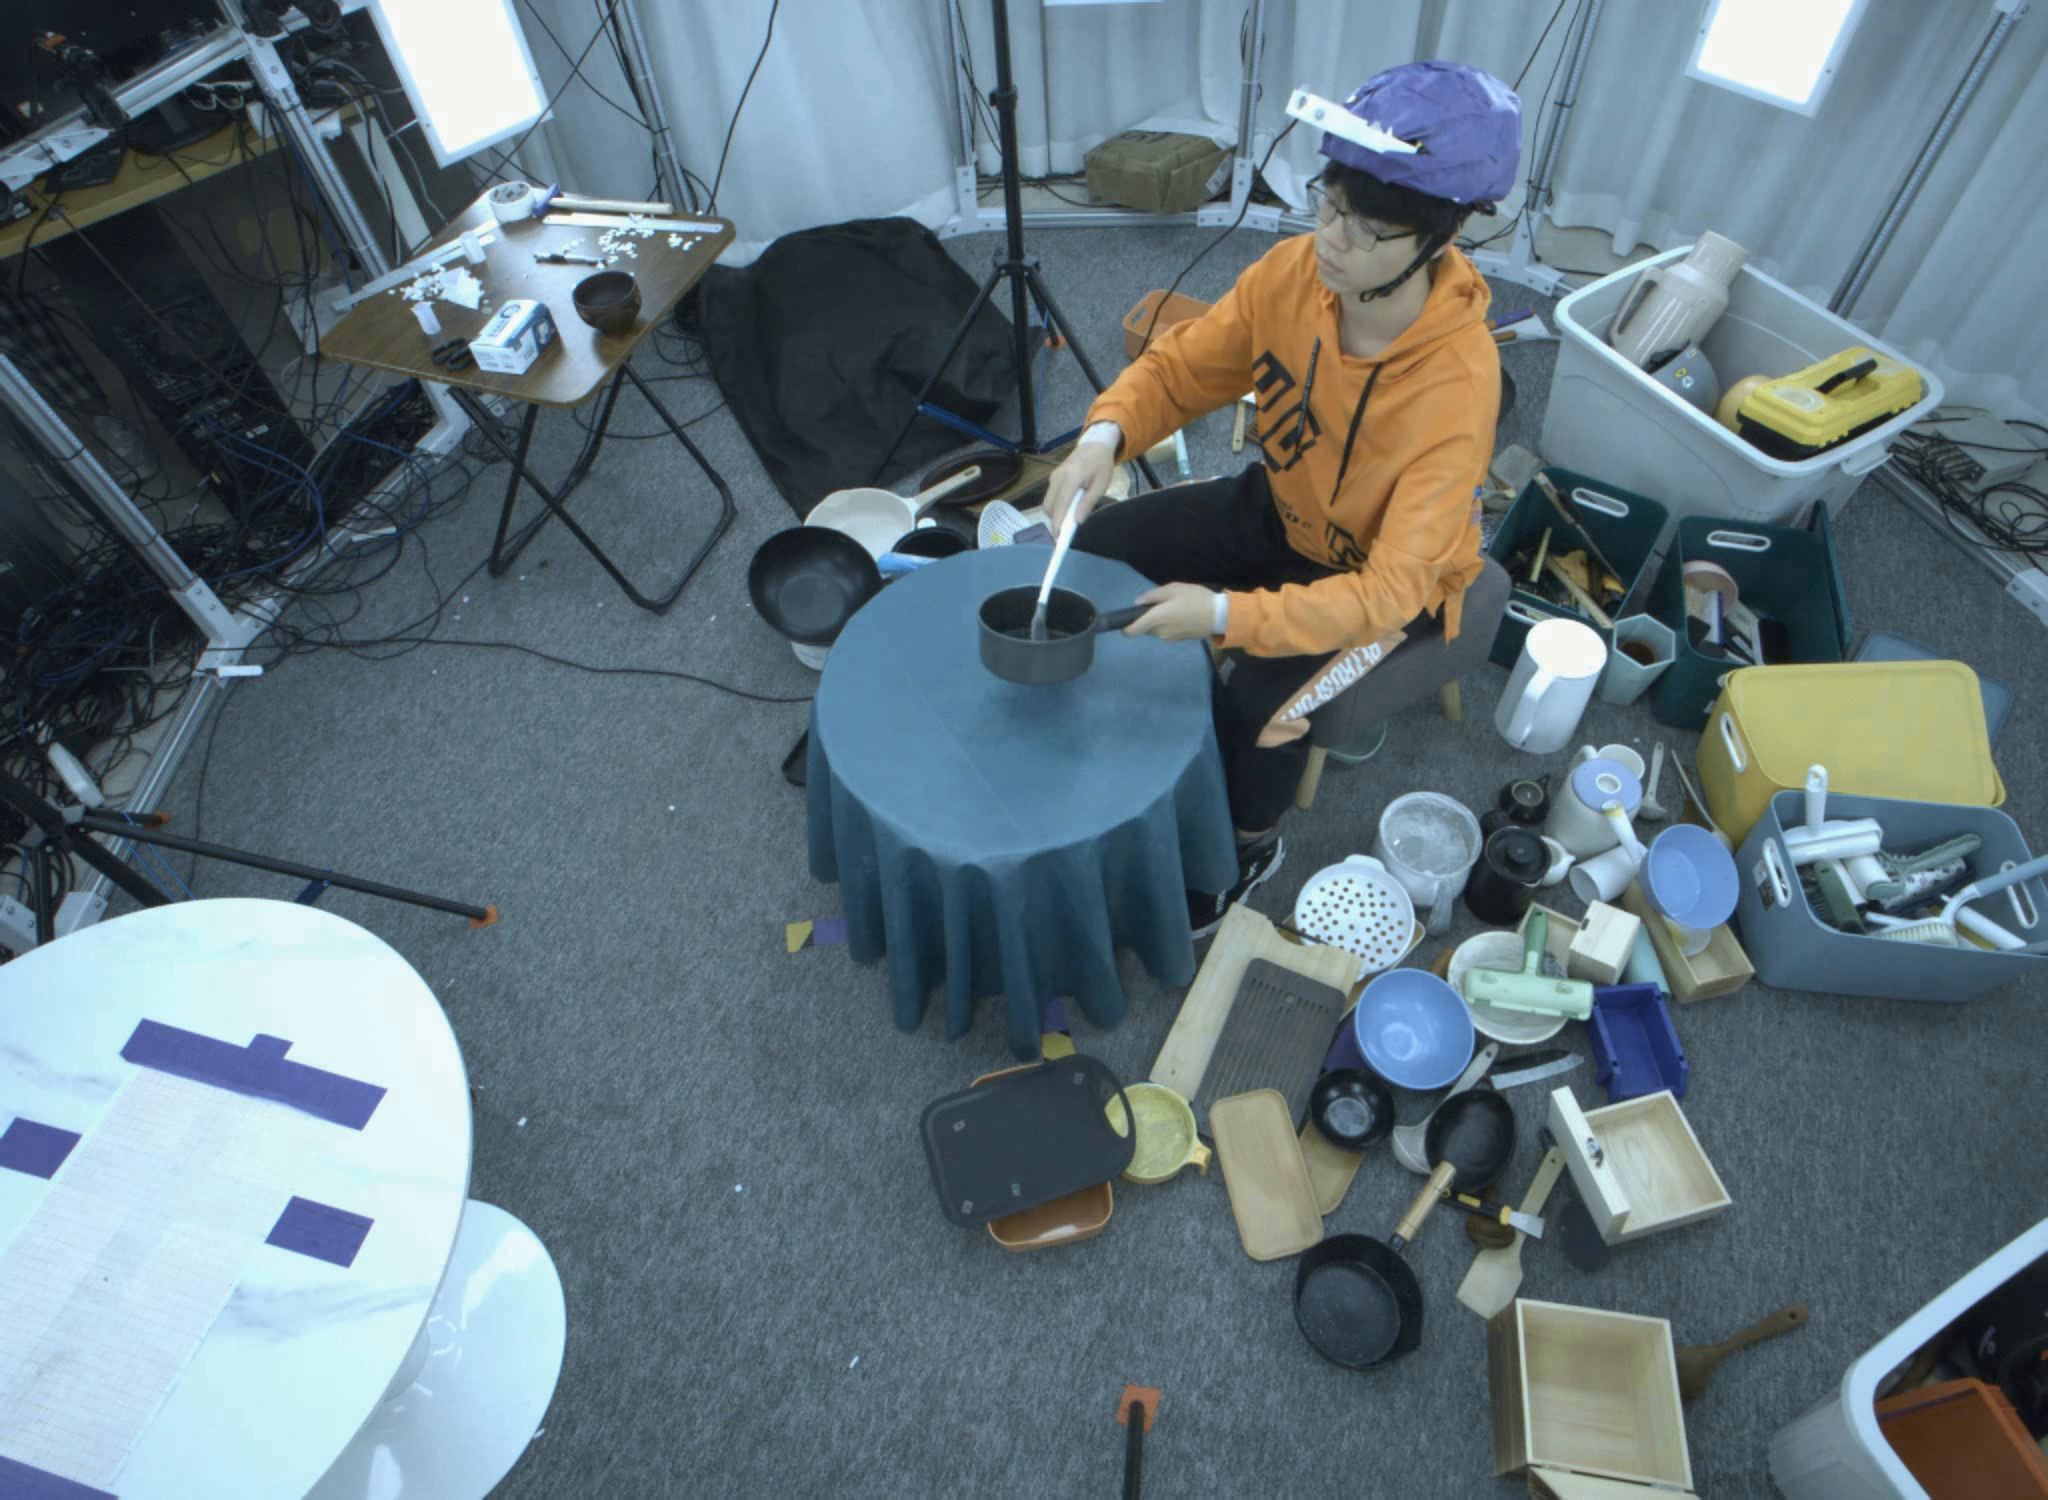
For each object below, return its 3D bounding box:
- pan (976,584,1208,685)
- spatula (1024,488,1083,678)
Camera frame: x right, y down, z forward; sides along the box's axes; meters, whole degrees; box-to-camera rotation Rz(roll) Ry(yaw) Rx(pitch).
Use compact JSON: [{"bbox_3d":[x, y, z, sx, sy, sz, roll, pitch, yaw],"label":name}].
[{"bbox_3d":[0.096,-0.170,1.746,0.330,0.087,0.169,-4,37,-6],"label":"pan"},{"bbox_3d":[0.039,-0.238,1.732,0.031,0.060,0.286,3,71,32],"label":"spatula"}]
